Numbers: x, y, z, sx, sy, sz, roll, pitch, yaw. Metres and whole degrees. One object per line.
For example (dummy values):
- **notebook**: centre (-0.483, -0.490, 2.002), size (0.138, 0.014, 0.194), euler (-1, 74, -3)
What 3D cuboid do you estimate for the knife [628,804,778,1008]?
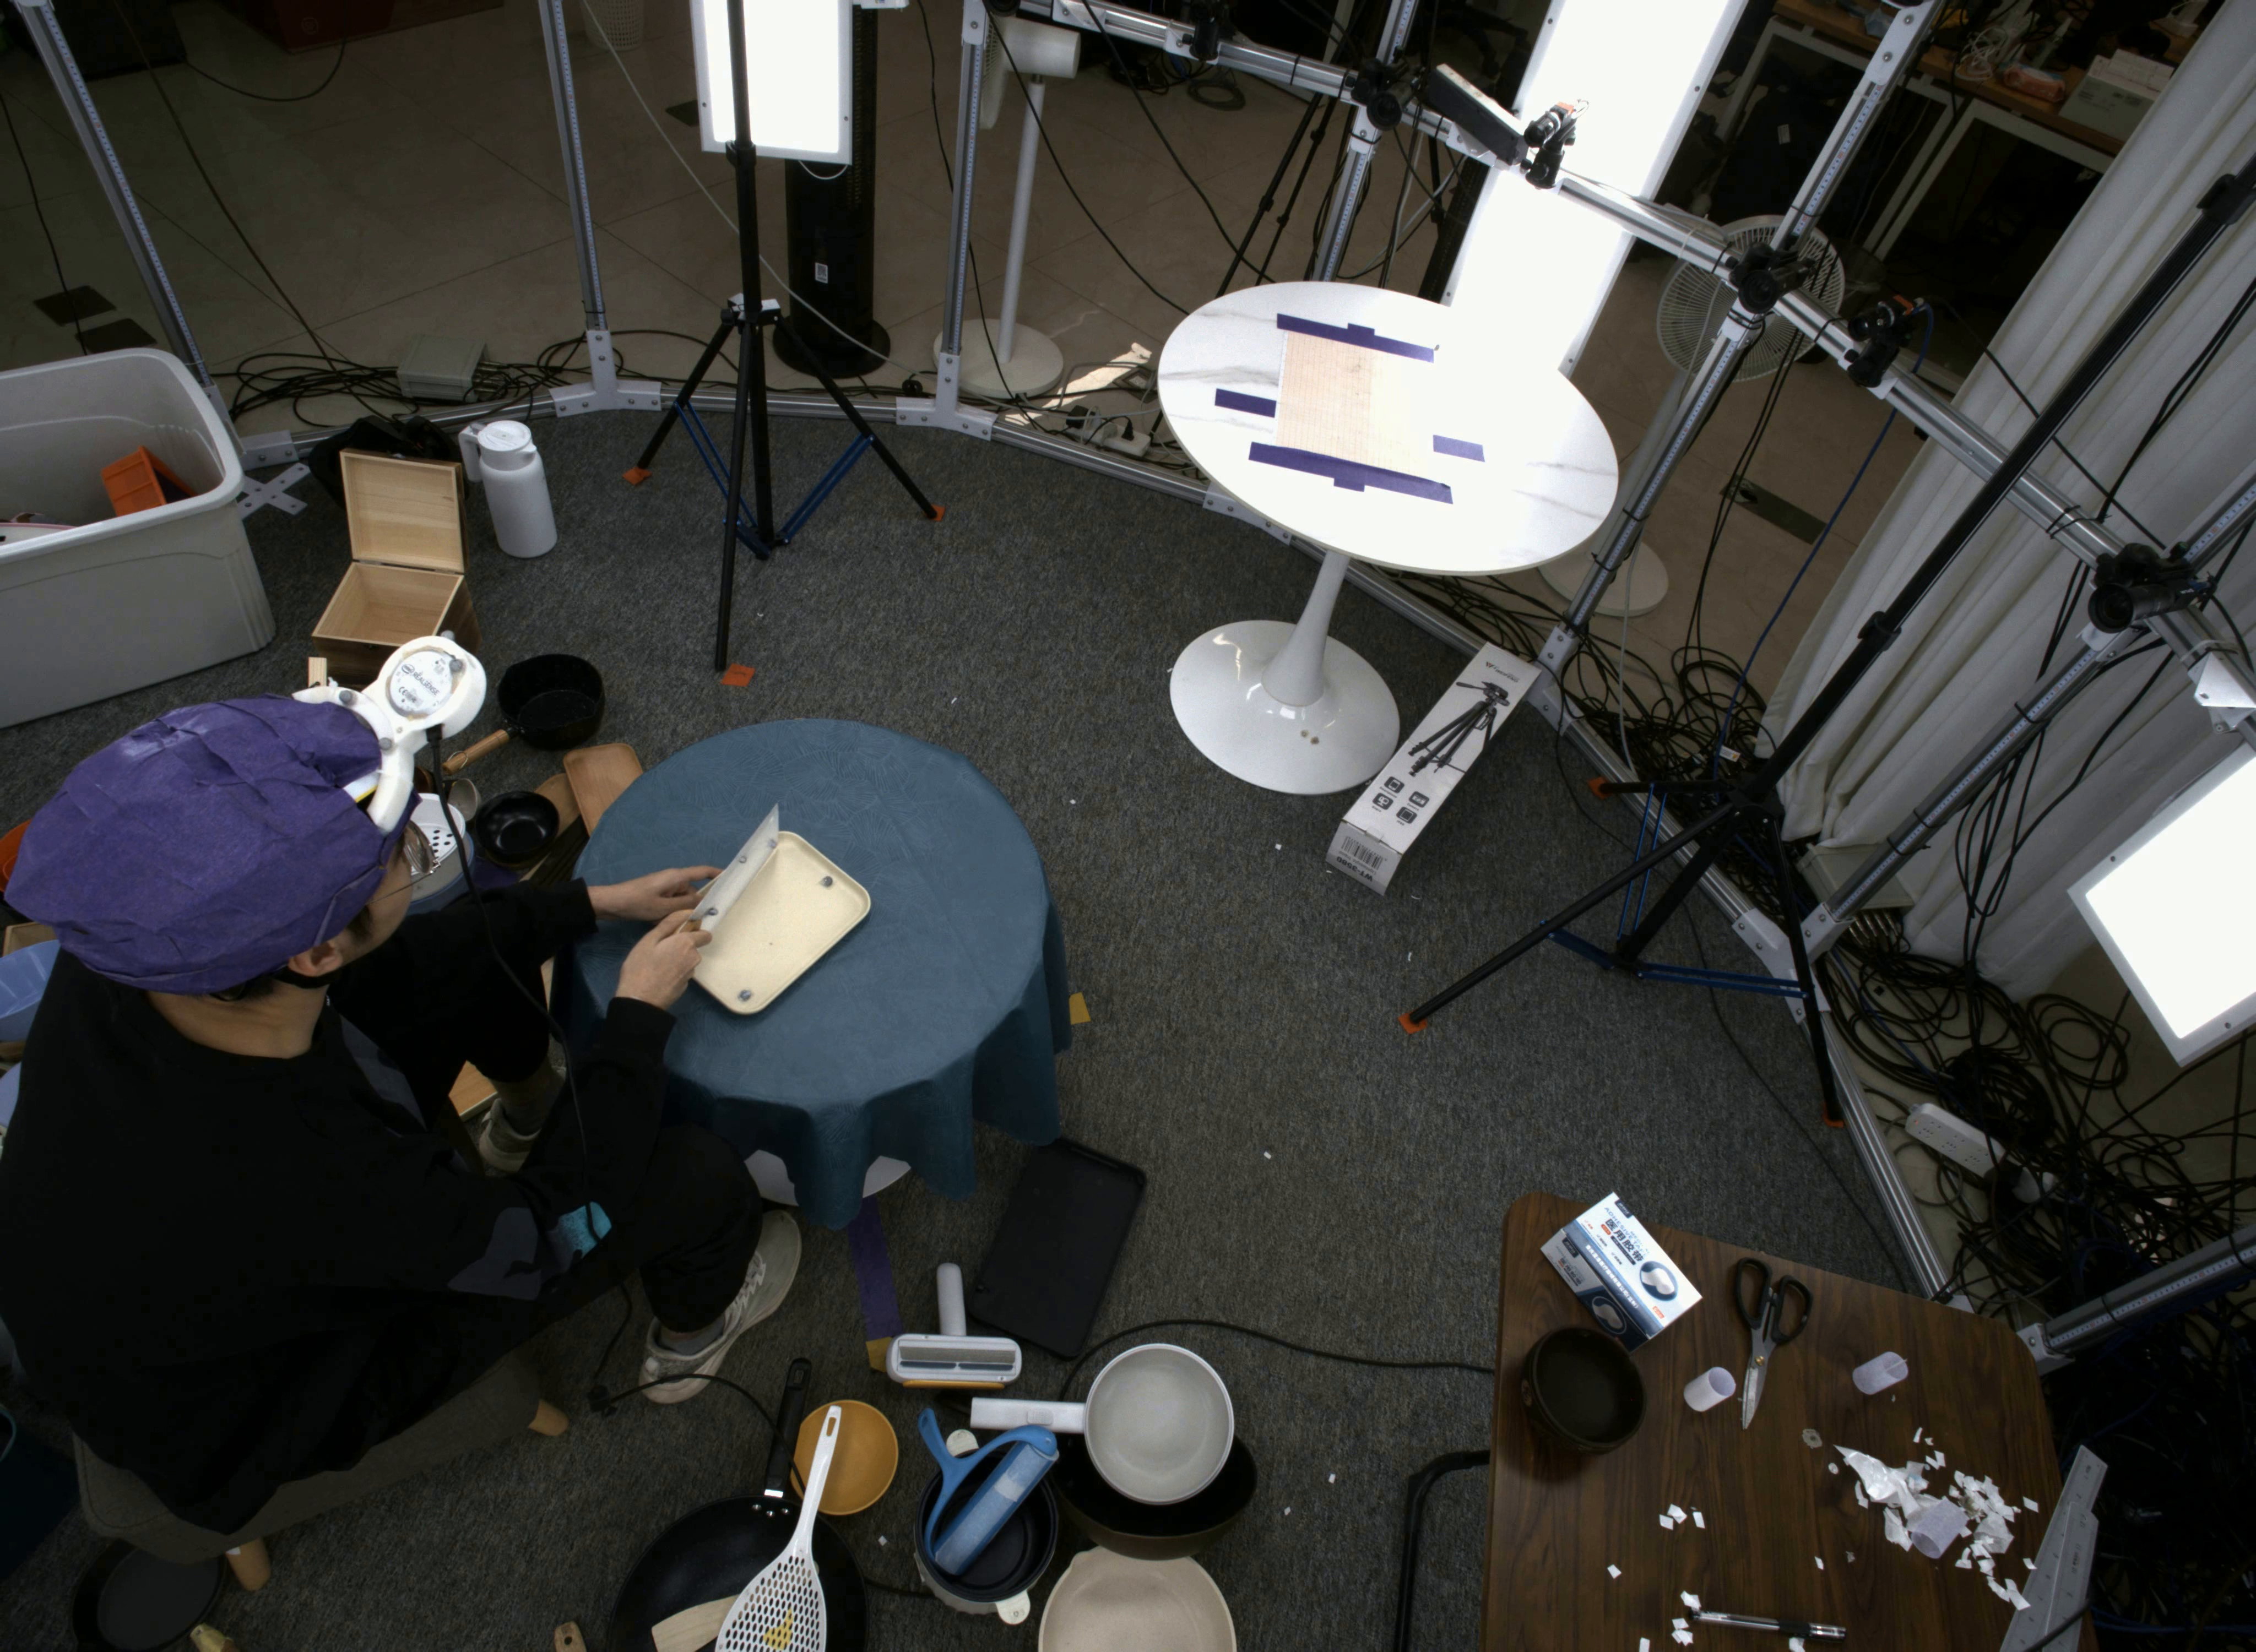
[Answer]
- **knife**: centre (-0.498, 0.101, 1.533), size (0.021, 0.095, 0.303), euler (24, 53, 5)

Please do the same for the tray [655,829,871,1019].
- **tray**: centre (-0.448, 0.116, 1.597), size (0.170, 0.017, 0.239), euler (39, 53, 5)
